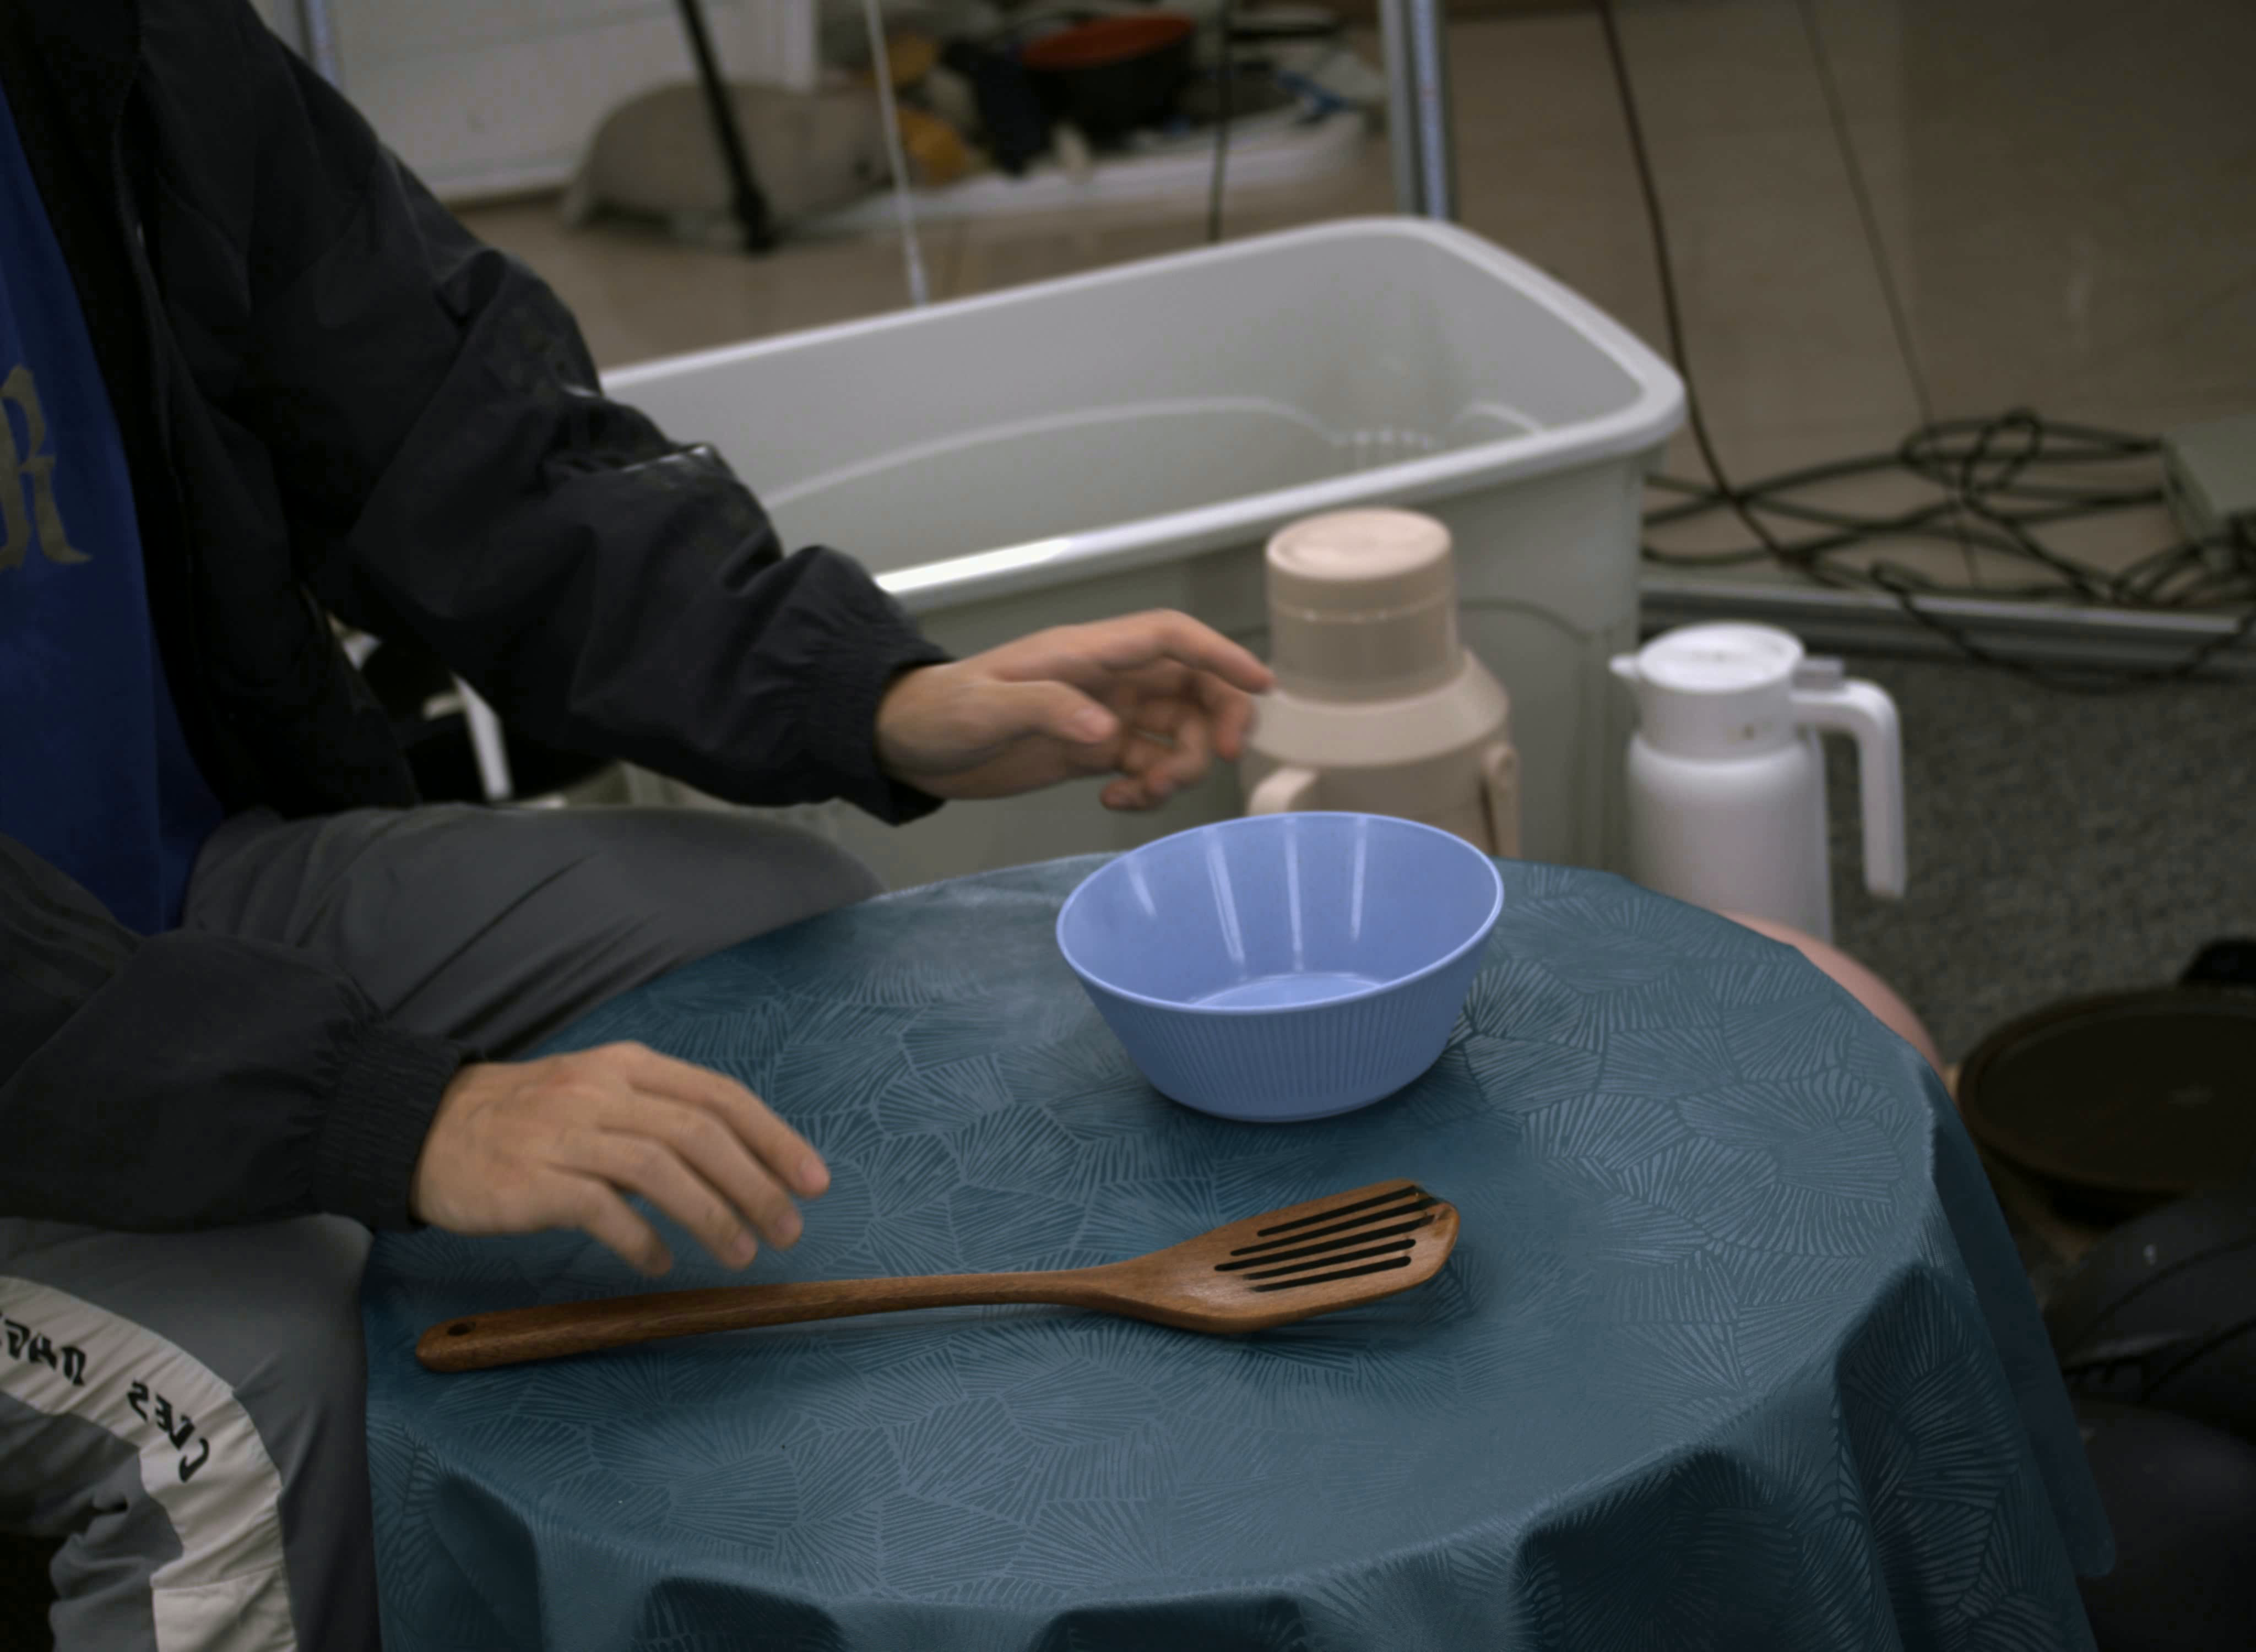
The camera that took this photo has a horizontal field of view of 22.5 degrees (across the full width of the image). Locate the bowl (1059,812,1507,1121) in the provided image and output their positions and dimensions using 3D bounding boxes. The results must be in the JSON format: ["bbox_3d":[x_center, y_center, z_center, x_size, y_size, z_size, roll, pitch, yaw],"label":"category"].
[{"bbox_3d":[0.064,0.060,2.215,0.176,0.071,0.173,-6,24,3],"label":"bowl"}]

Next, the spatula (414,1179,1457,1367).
[{"bbox_3d":[-0.071,0.172,2.070,0.386,0.024,0.084,-6,23,5],"label":"spatula"}]
